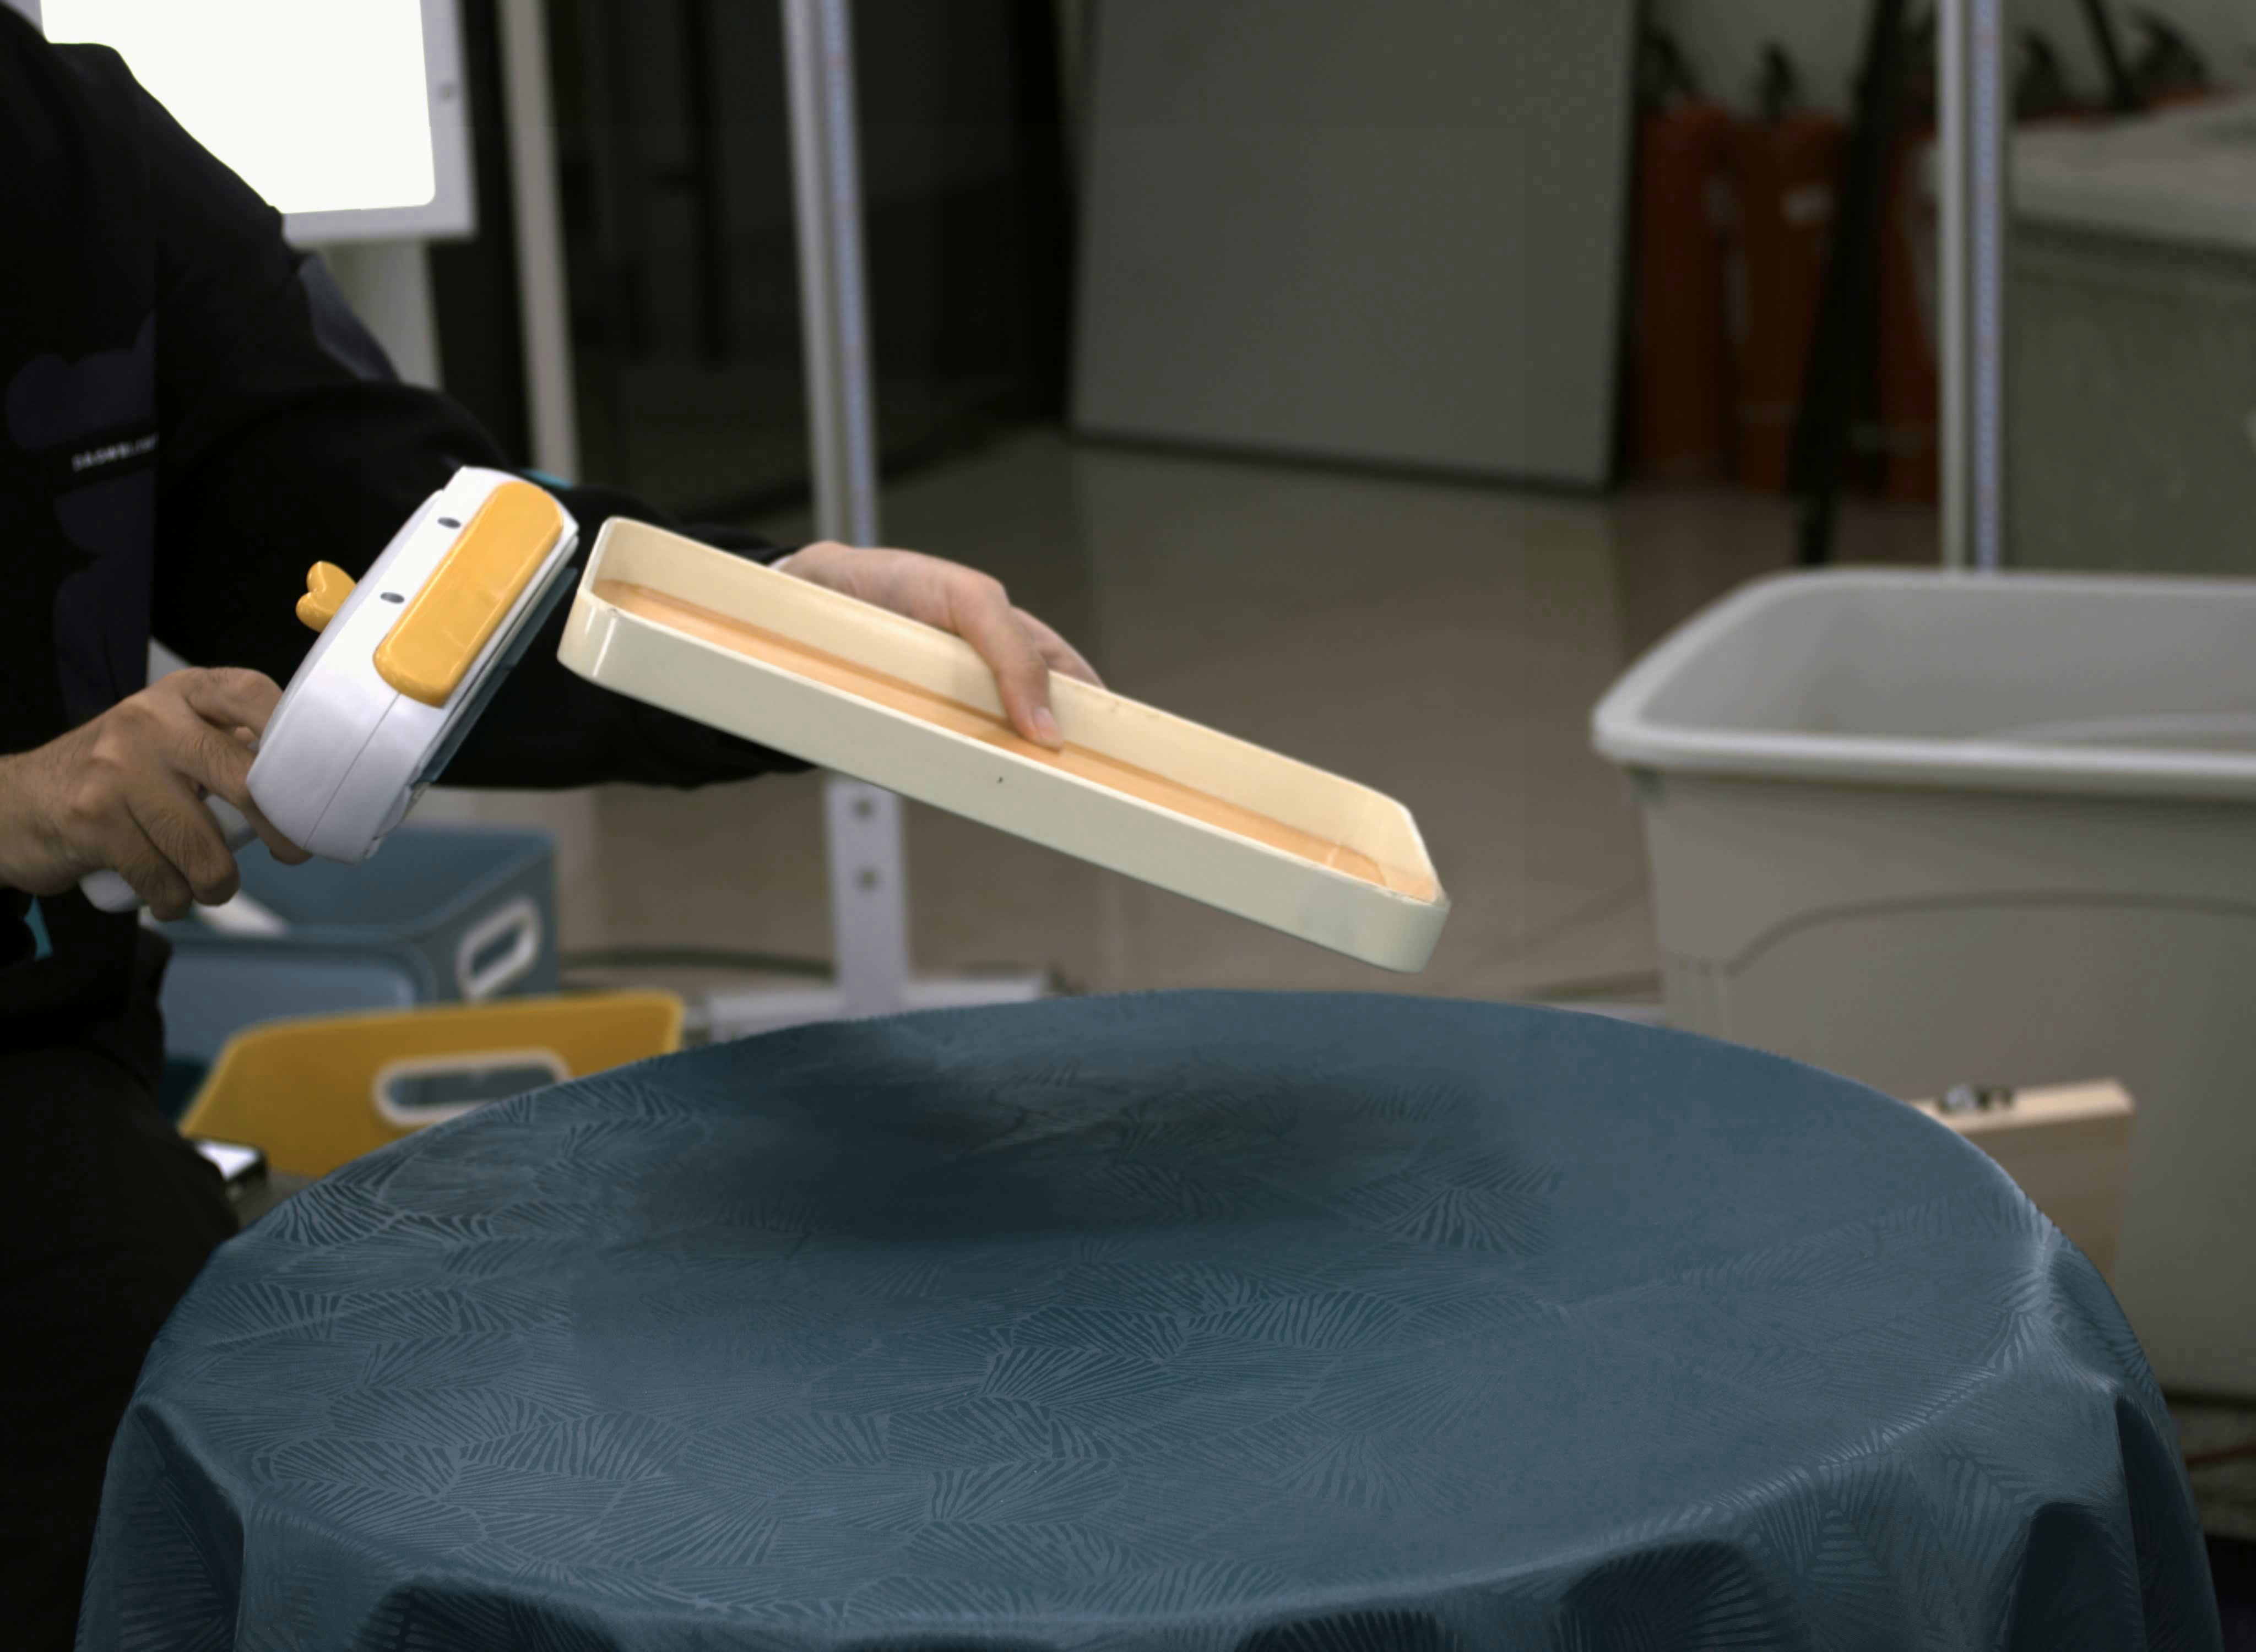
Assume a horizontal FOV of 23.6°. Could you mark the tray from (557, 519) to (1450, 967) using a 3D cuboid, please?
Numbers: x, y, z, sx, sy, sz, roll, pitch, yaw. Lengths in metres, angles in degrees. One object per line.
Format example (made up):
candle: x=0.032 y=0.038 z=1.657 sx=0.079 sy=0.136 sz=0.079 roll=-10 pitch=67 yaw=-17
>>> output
tray: x=-0.042 y=-0.029 z=1.793 sx=0.296 sy=0.028 sz=0.192 roll=20 pitch=9 yaw=-4

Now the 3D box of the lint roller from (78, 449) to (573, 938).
lint roller: x=-0.268 y=-0.024 z=1.769 sx=0.073 sy=0.194 sz=0.193 roll=37 pitch=26 yaw=-12
